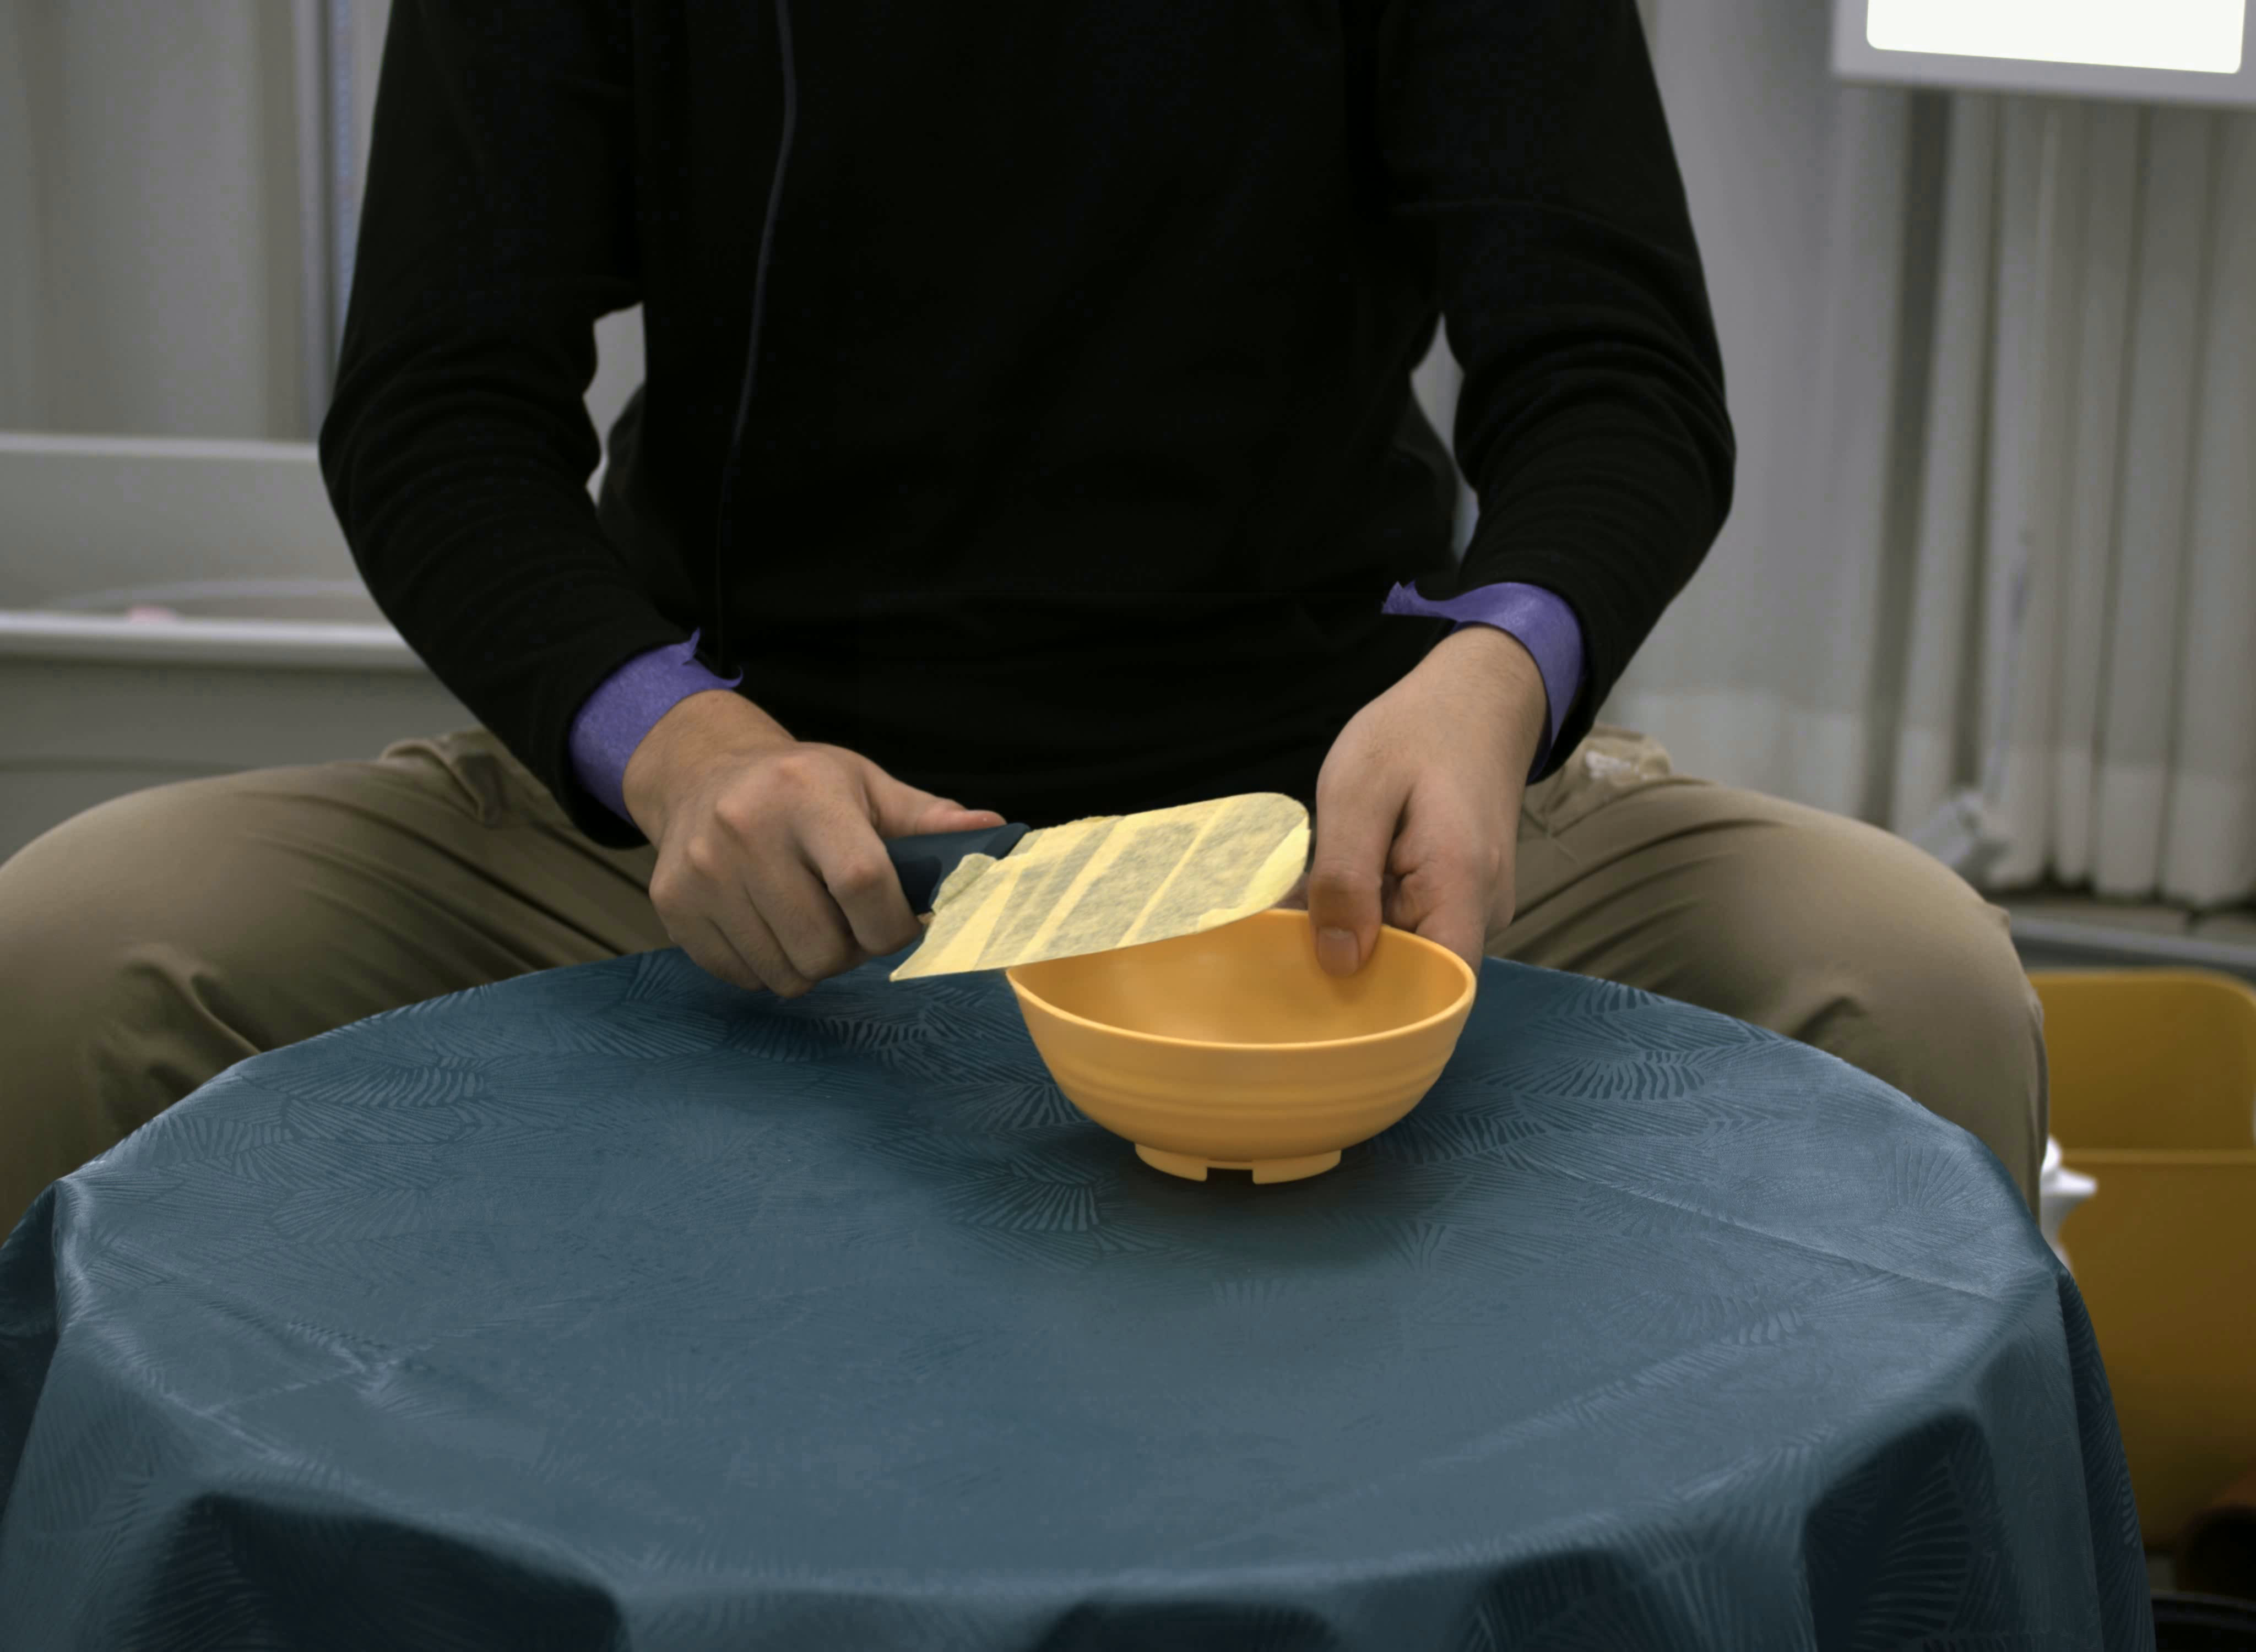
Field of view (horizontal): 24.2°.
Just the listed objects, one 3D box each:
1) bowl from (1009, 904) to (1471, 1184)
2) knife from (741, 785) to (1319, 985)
[{"bbox_3d":[0.033,0.073,1.644,0.145,0.060,0.144,3,16,0],"label":"bowl"},{"bbox_3d":[-0.039,0.024,1.687,0.287,0.027,0.081,-10,30,49],"label":"knife"}]
